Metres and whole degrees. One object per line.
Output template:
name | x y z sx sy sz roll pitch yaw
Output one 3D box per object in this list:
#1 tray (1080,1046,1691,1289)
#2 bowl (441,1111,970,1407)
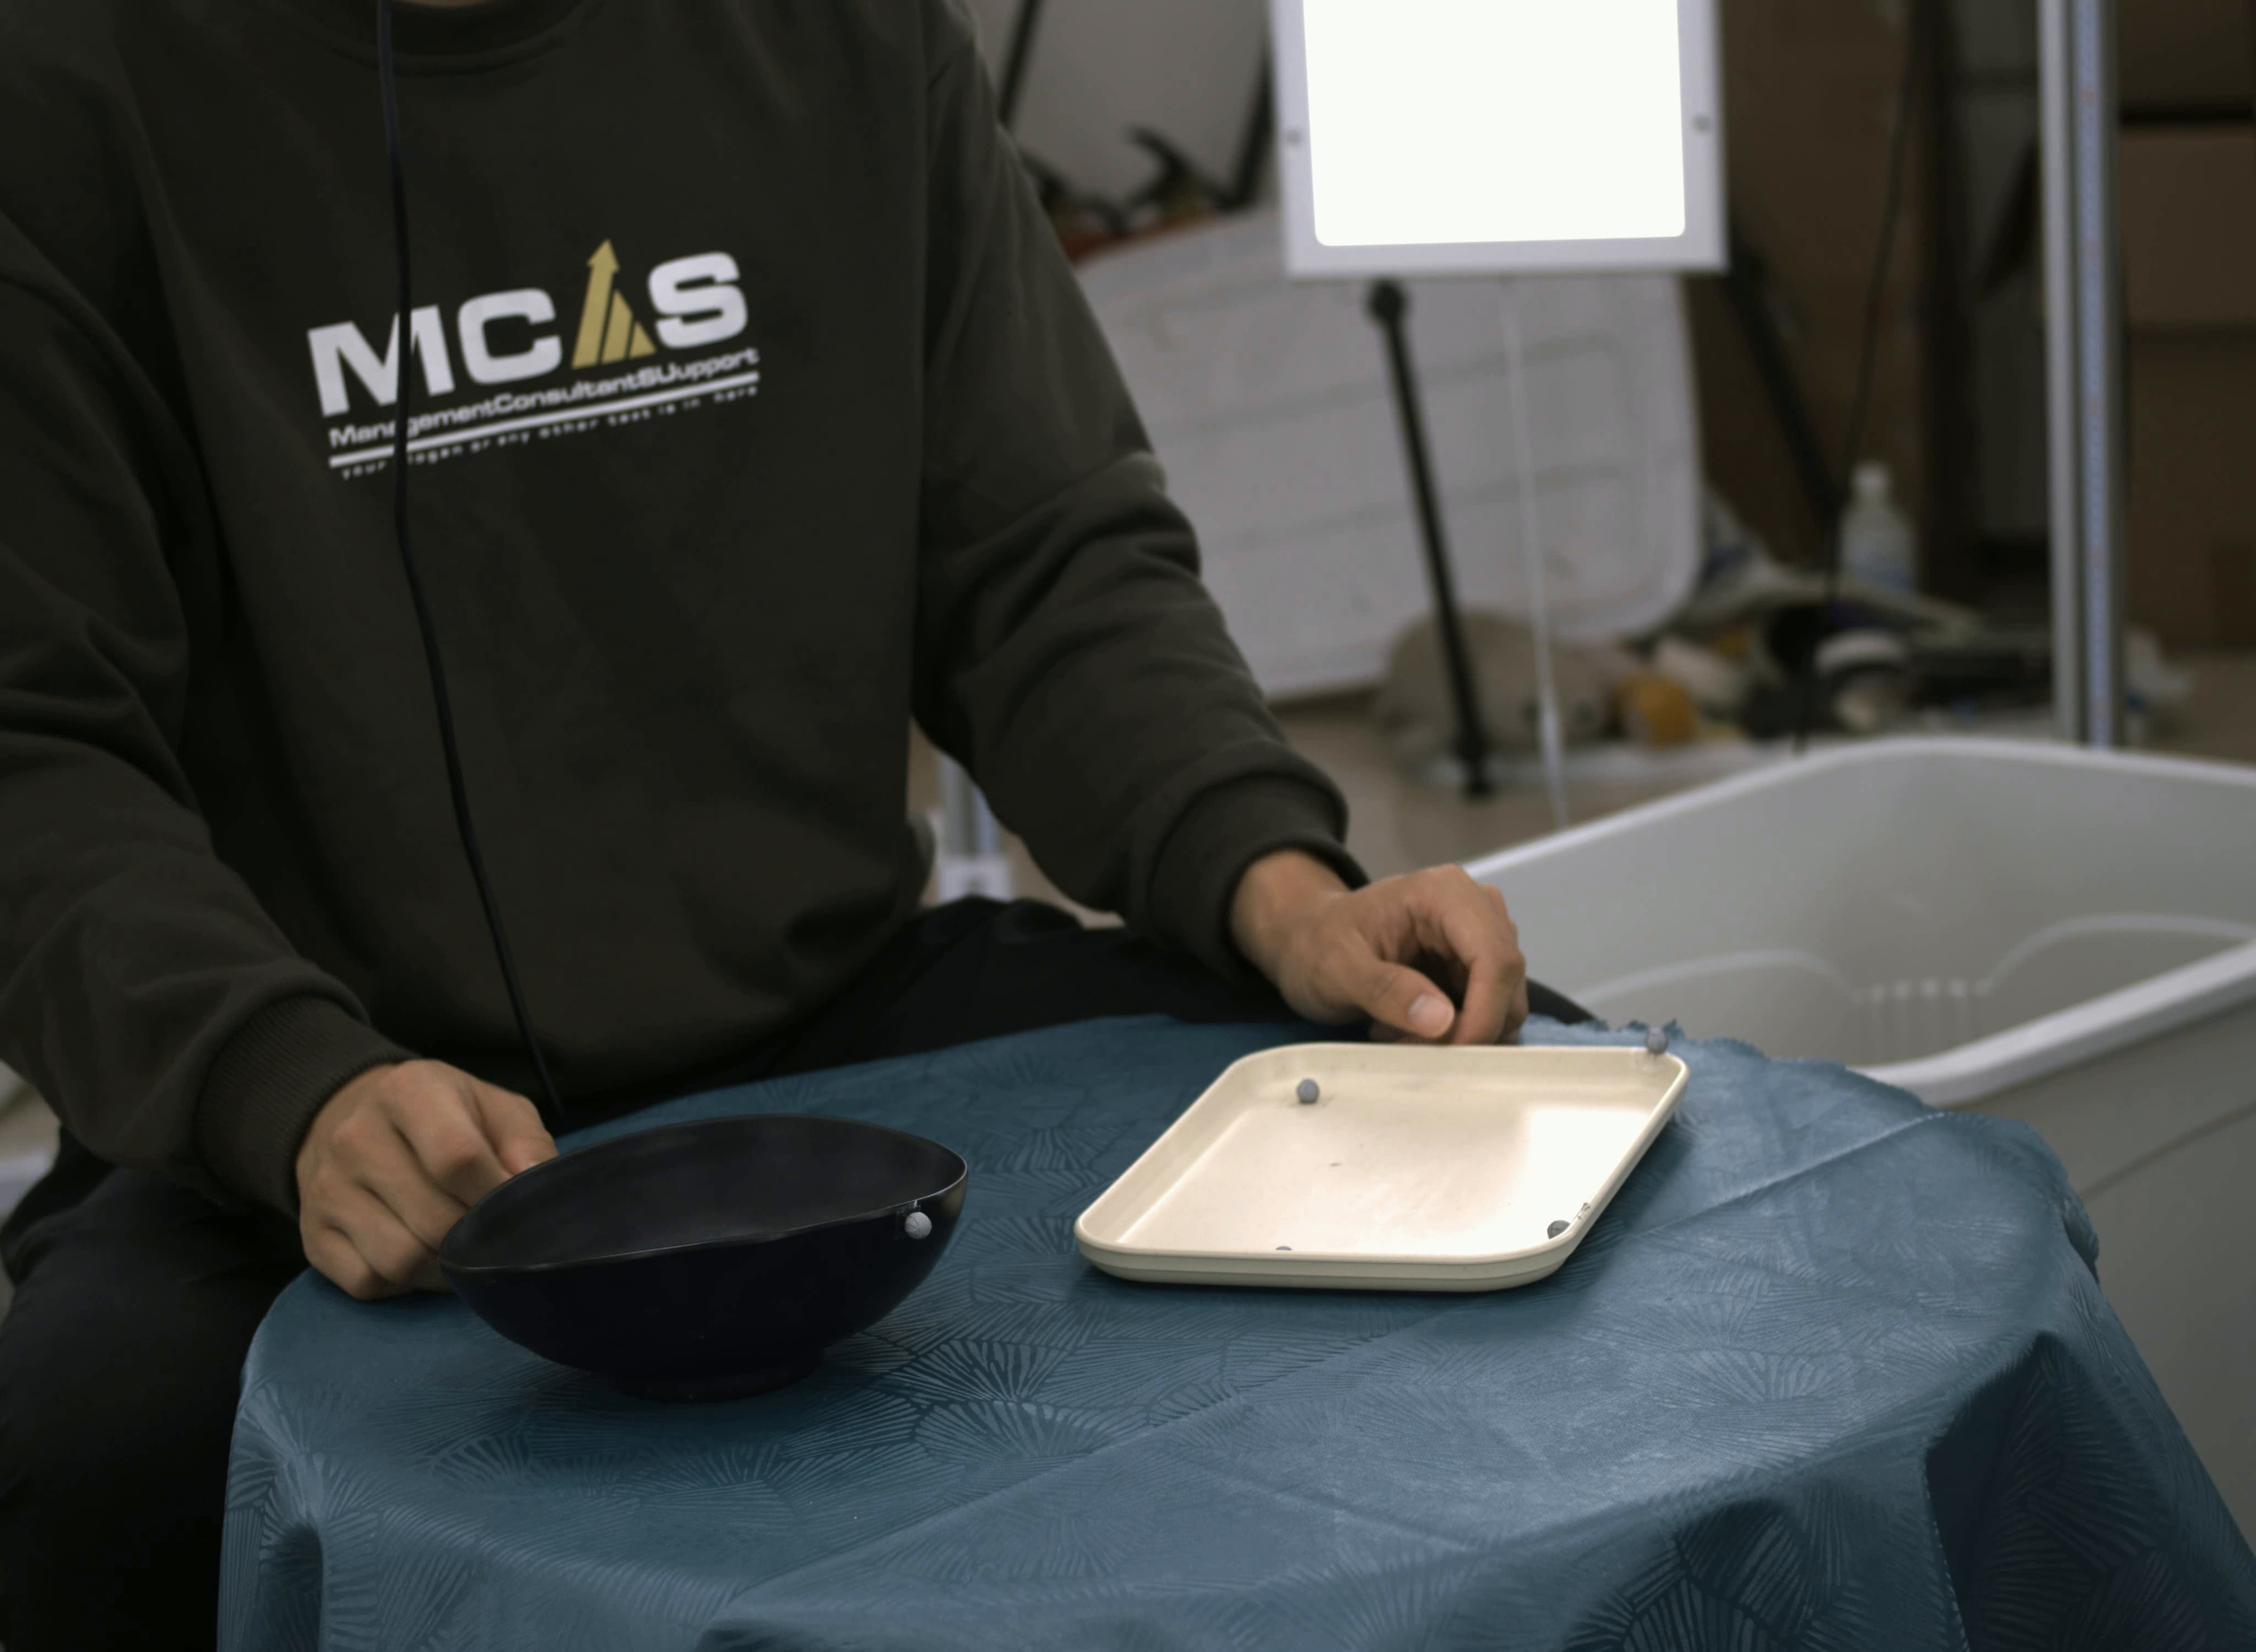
tray | 0.092 0.116 1.875 0.173 0.017 0.236 -1 14 19
bowl | -0.131 0.143 1.747 0.168 0.067 0.138 -9 13 -11
